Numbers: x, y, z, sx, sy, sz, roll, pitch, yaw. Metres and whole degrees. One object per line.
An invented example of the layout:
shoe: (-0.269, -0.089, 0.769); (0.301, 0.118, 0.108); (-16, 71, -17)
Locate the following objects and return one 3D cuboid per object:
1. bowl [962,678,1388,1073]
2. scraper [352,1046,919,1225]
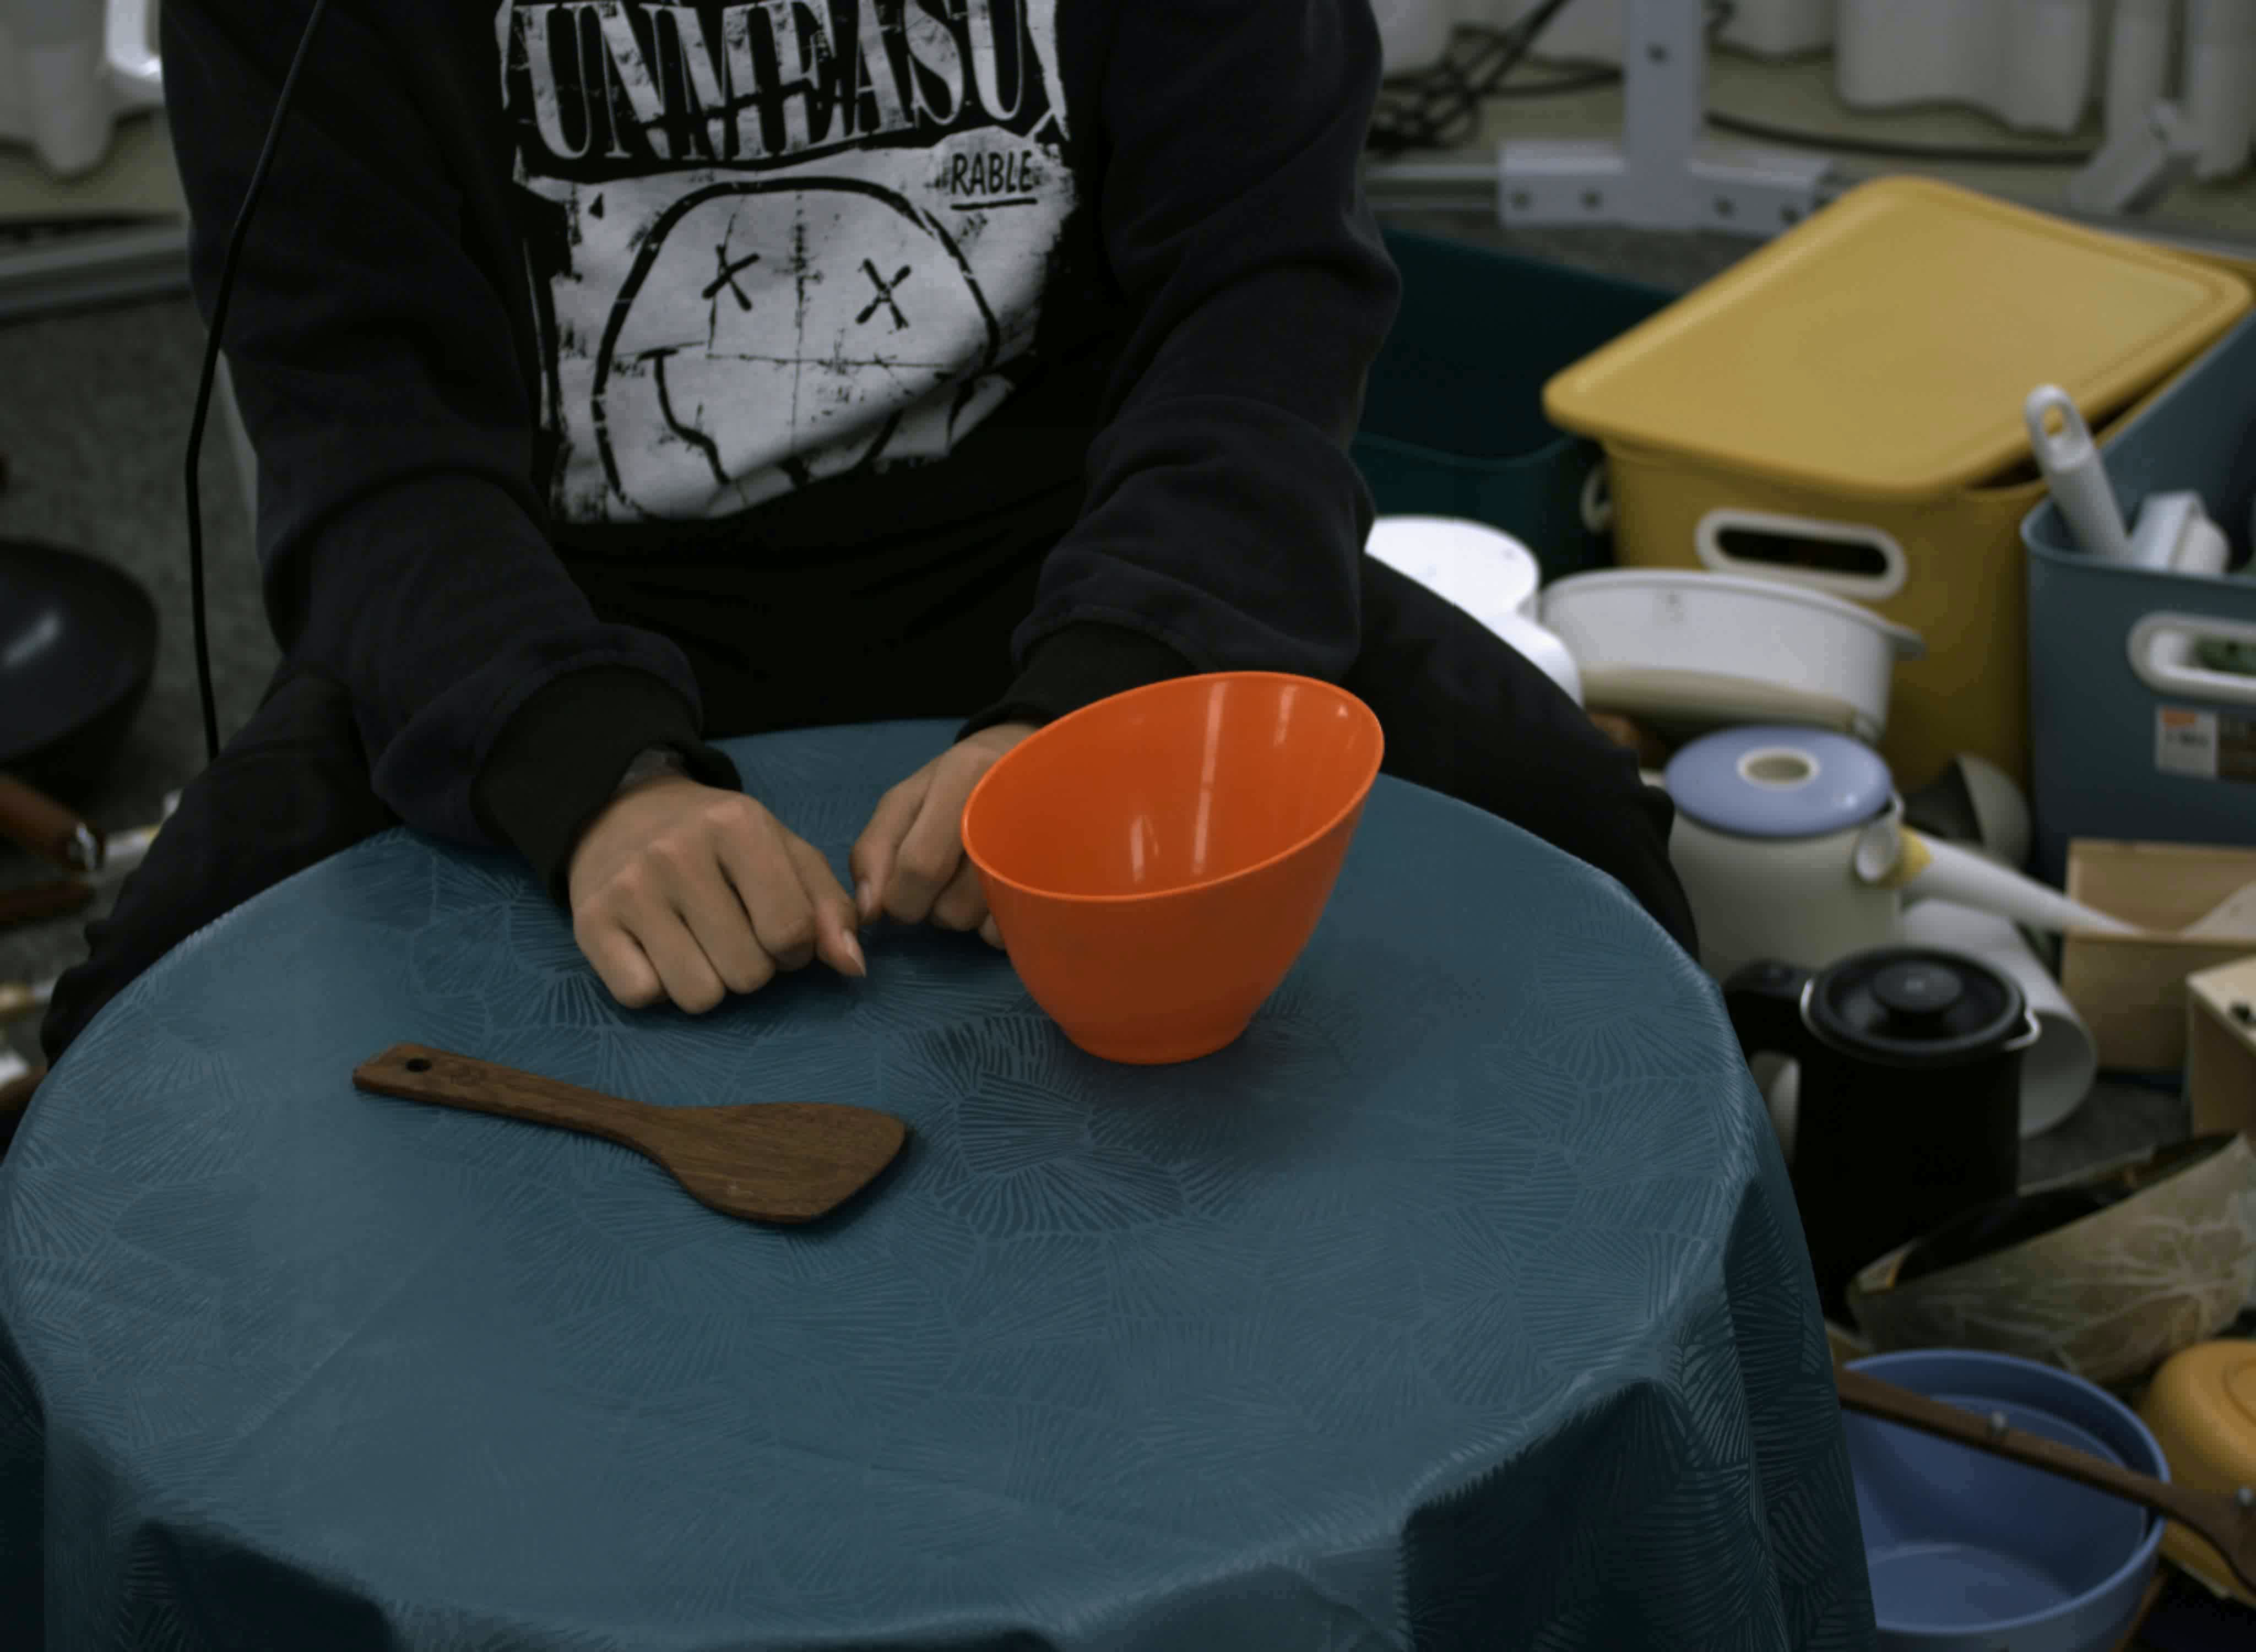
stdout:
bowl: (0.018, 0.023, 1.942); (0.147, 0.103, 0.150); (-2, 27, 1)
scraper: (-0.173, 0.101, 1.910); (0.210, 0.011, 0.077); (11, 29, 26)
